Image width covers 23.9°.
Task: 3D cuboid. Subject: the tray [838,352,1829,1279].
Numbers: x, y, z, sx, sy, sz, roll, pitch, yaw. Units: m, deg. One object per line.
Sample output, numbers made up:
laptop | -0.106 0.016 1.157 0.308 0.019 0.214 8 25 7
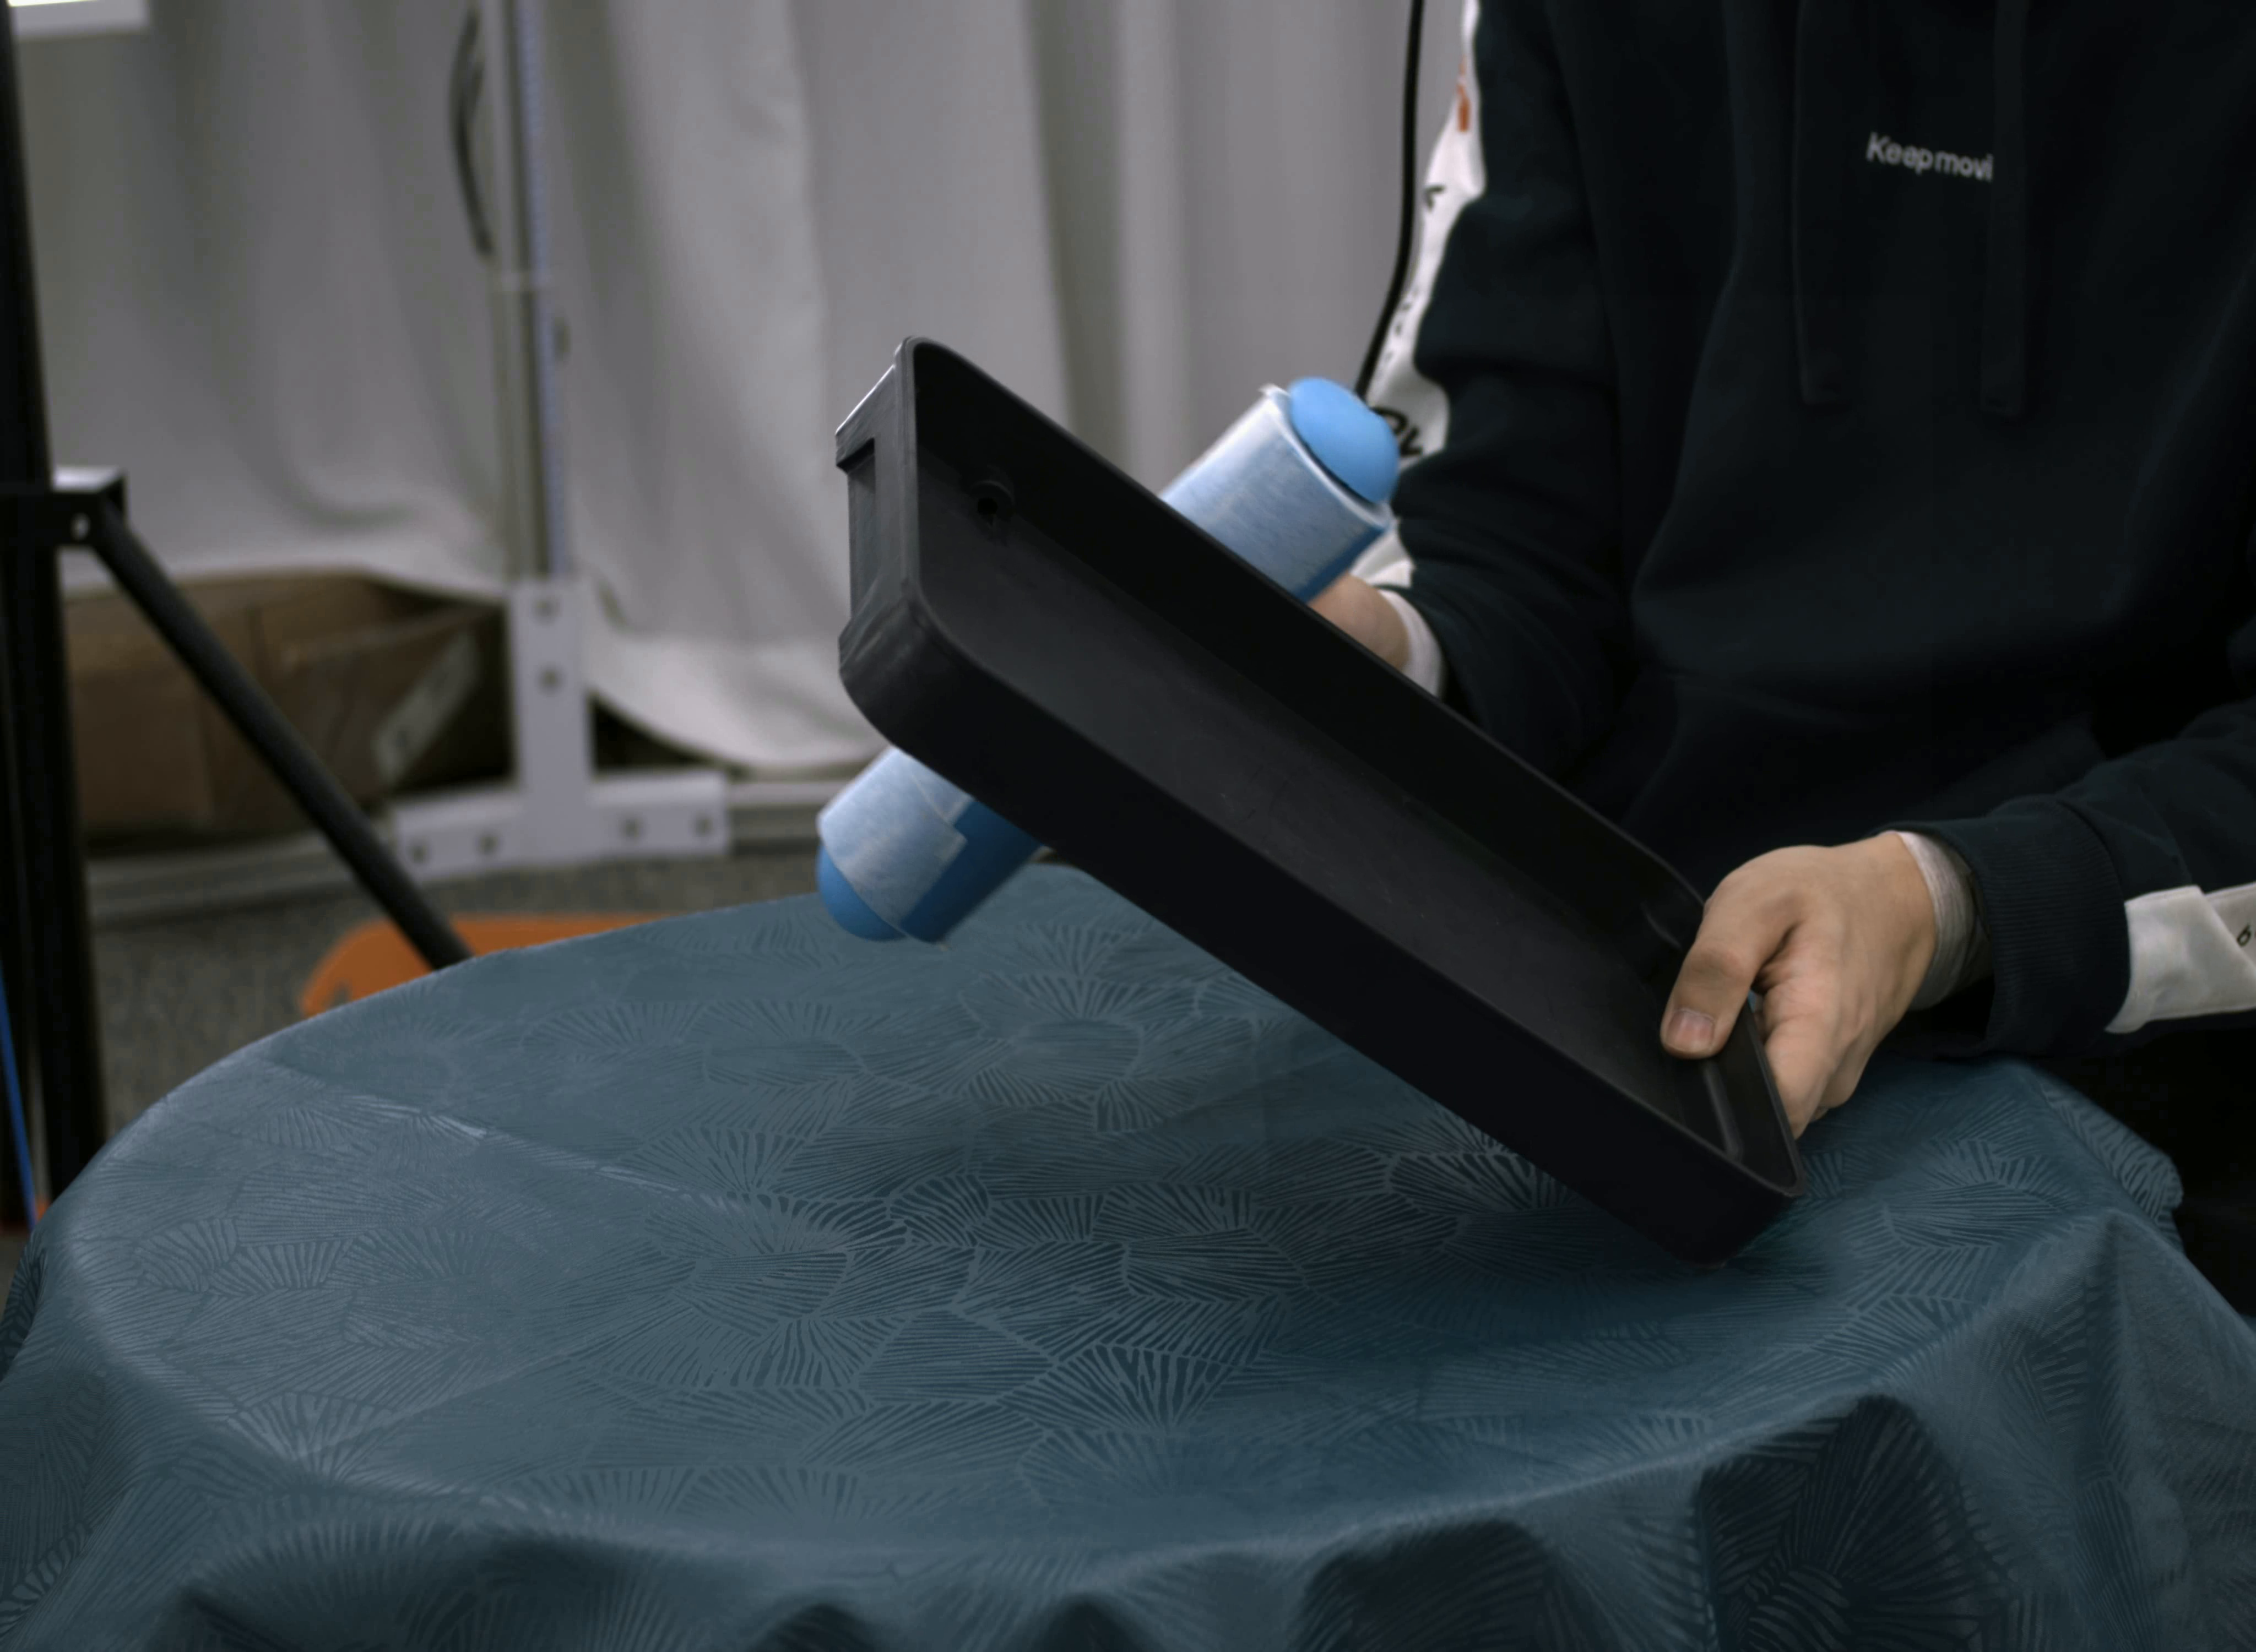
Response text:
tray | 0.056 -0.002 1.485 0.312 0.037 0.186 33 22 -20

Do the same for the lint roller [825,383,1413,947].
lint roller | 0.016 -0.042 1.645 0.230 0.069 0.177 -42 -17 14
